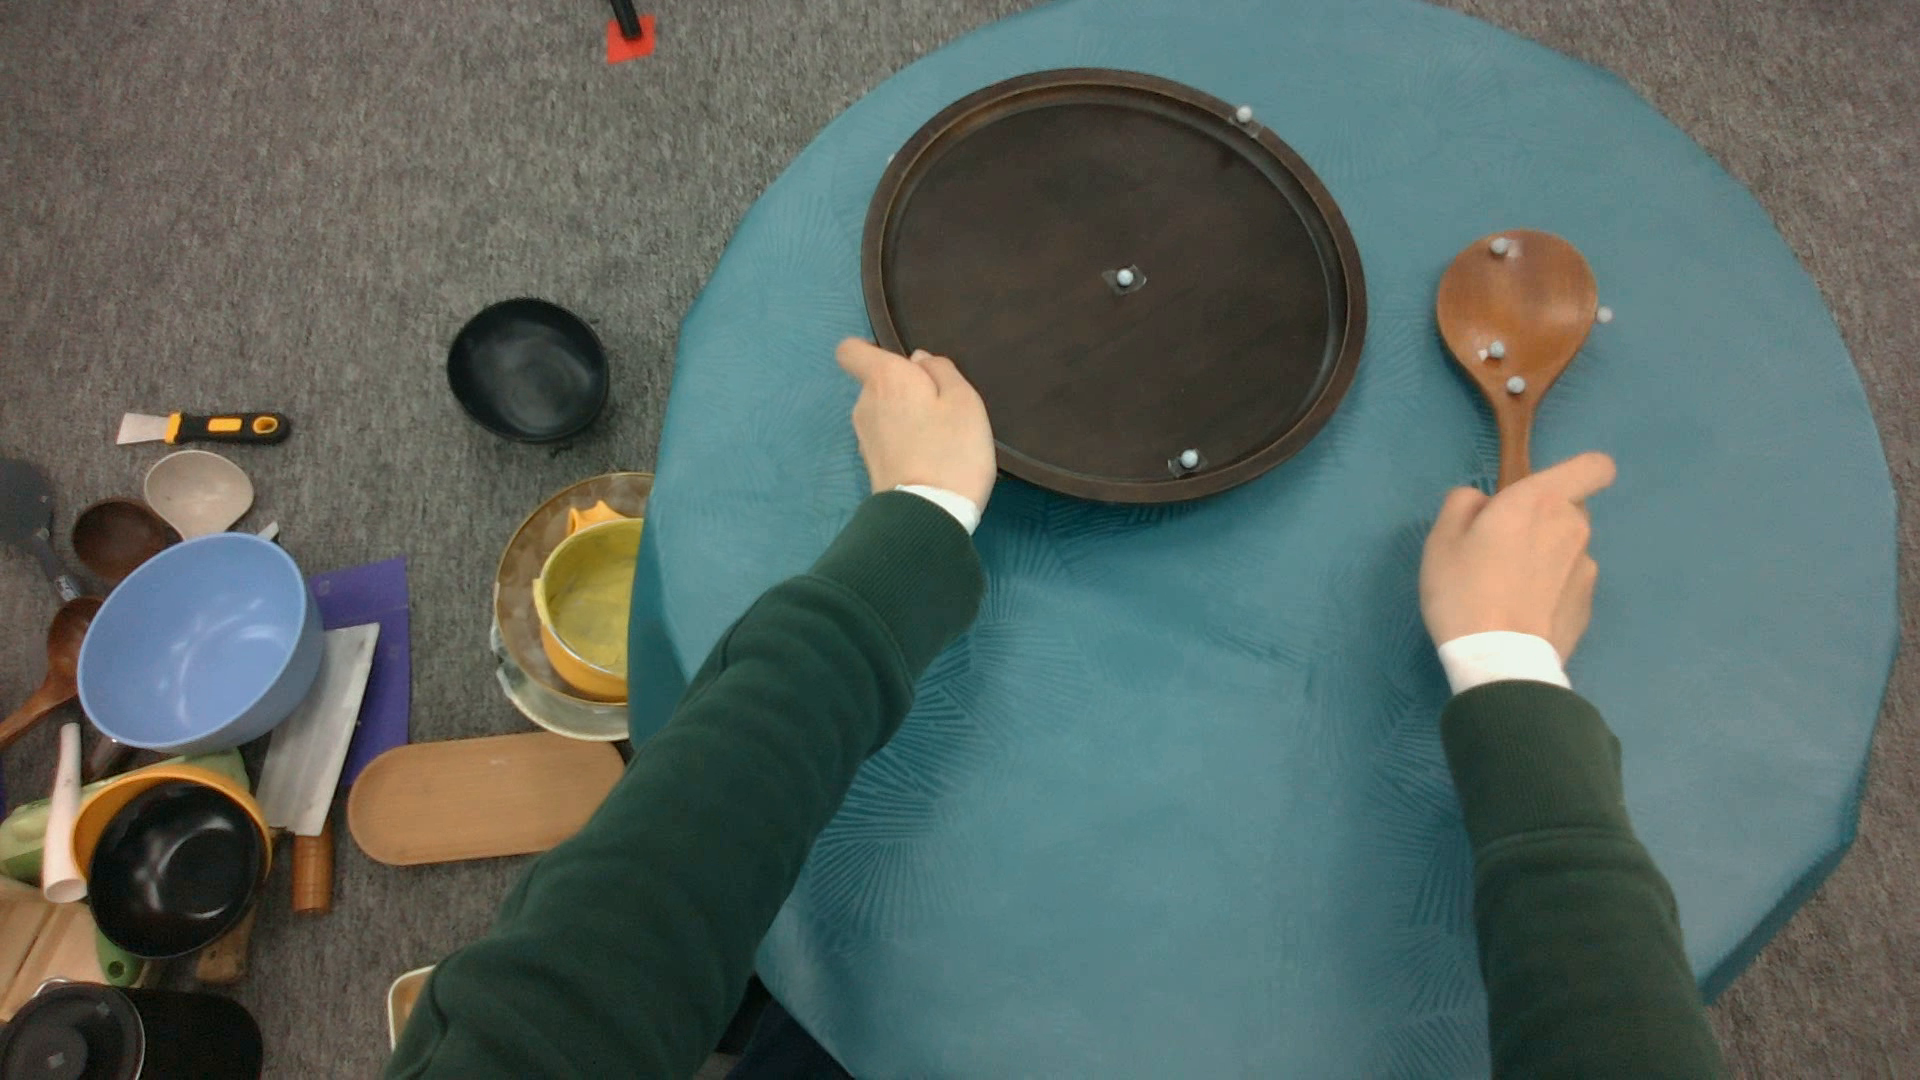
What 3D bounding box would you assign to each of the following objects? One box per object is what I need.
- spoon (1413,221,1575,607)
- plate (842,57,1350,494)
[{"bbox_3d":[0.255,-0.066,0.659,0.075,0.017,0.217,1,61,19],"label":"spoon"},{"bbox_3d":[0.068,-0.136,0.686,0.255,0.029,0.255,3,65,-5],"label":"plate"}]
